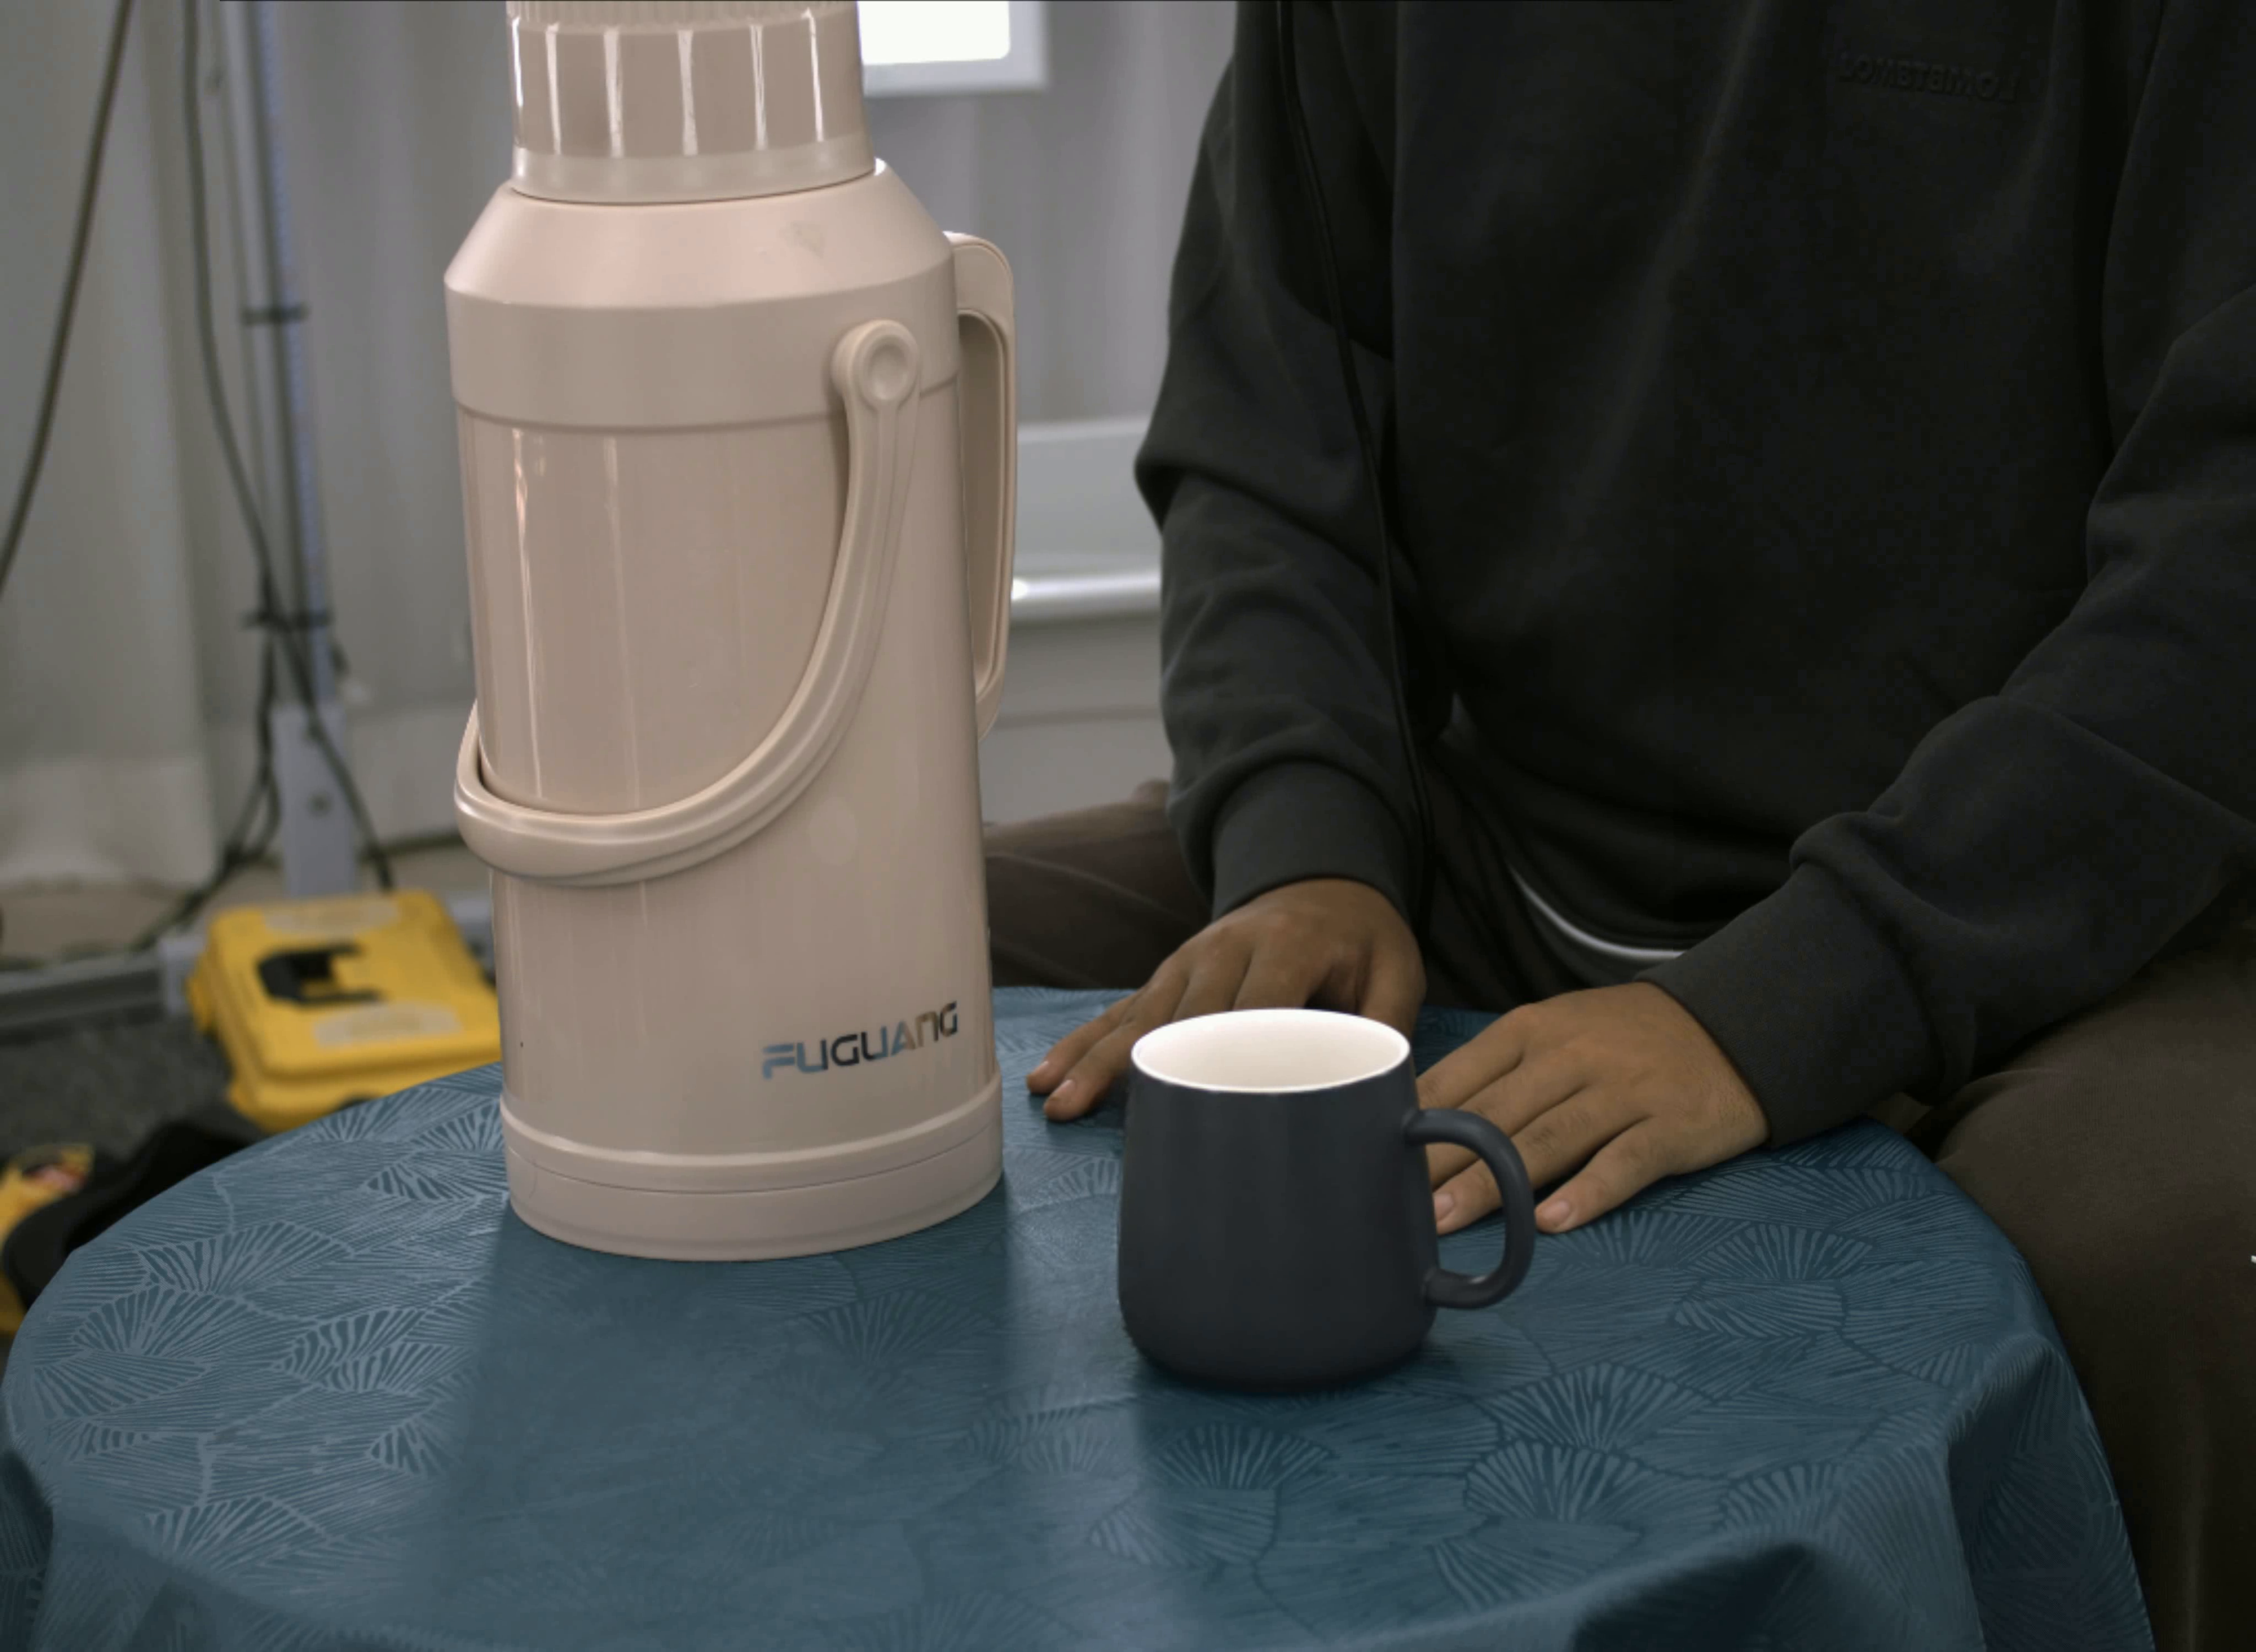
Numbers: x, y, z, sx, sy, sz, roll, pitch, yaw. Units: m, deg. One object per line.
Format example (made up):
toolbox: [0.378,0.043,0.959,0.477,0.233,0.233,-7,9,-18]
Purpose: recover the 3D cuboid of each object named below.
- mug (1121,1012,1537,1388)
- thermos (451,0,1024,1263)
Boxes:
mug: [0.057,0.108,1.559,0.123,0.089,0.094,3,15,23]
thermos: [-0.113,-0.081,1.707,0.206,0.405,0.176,-15,18,-40]
